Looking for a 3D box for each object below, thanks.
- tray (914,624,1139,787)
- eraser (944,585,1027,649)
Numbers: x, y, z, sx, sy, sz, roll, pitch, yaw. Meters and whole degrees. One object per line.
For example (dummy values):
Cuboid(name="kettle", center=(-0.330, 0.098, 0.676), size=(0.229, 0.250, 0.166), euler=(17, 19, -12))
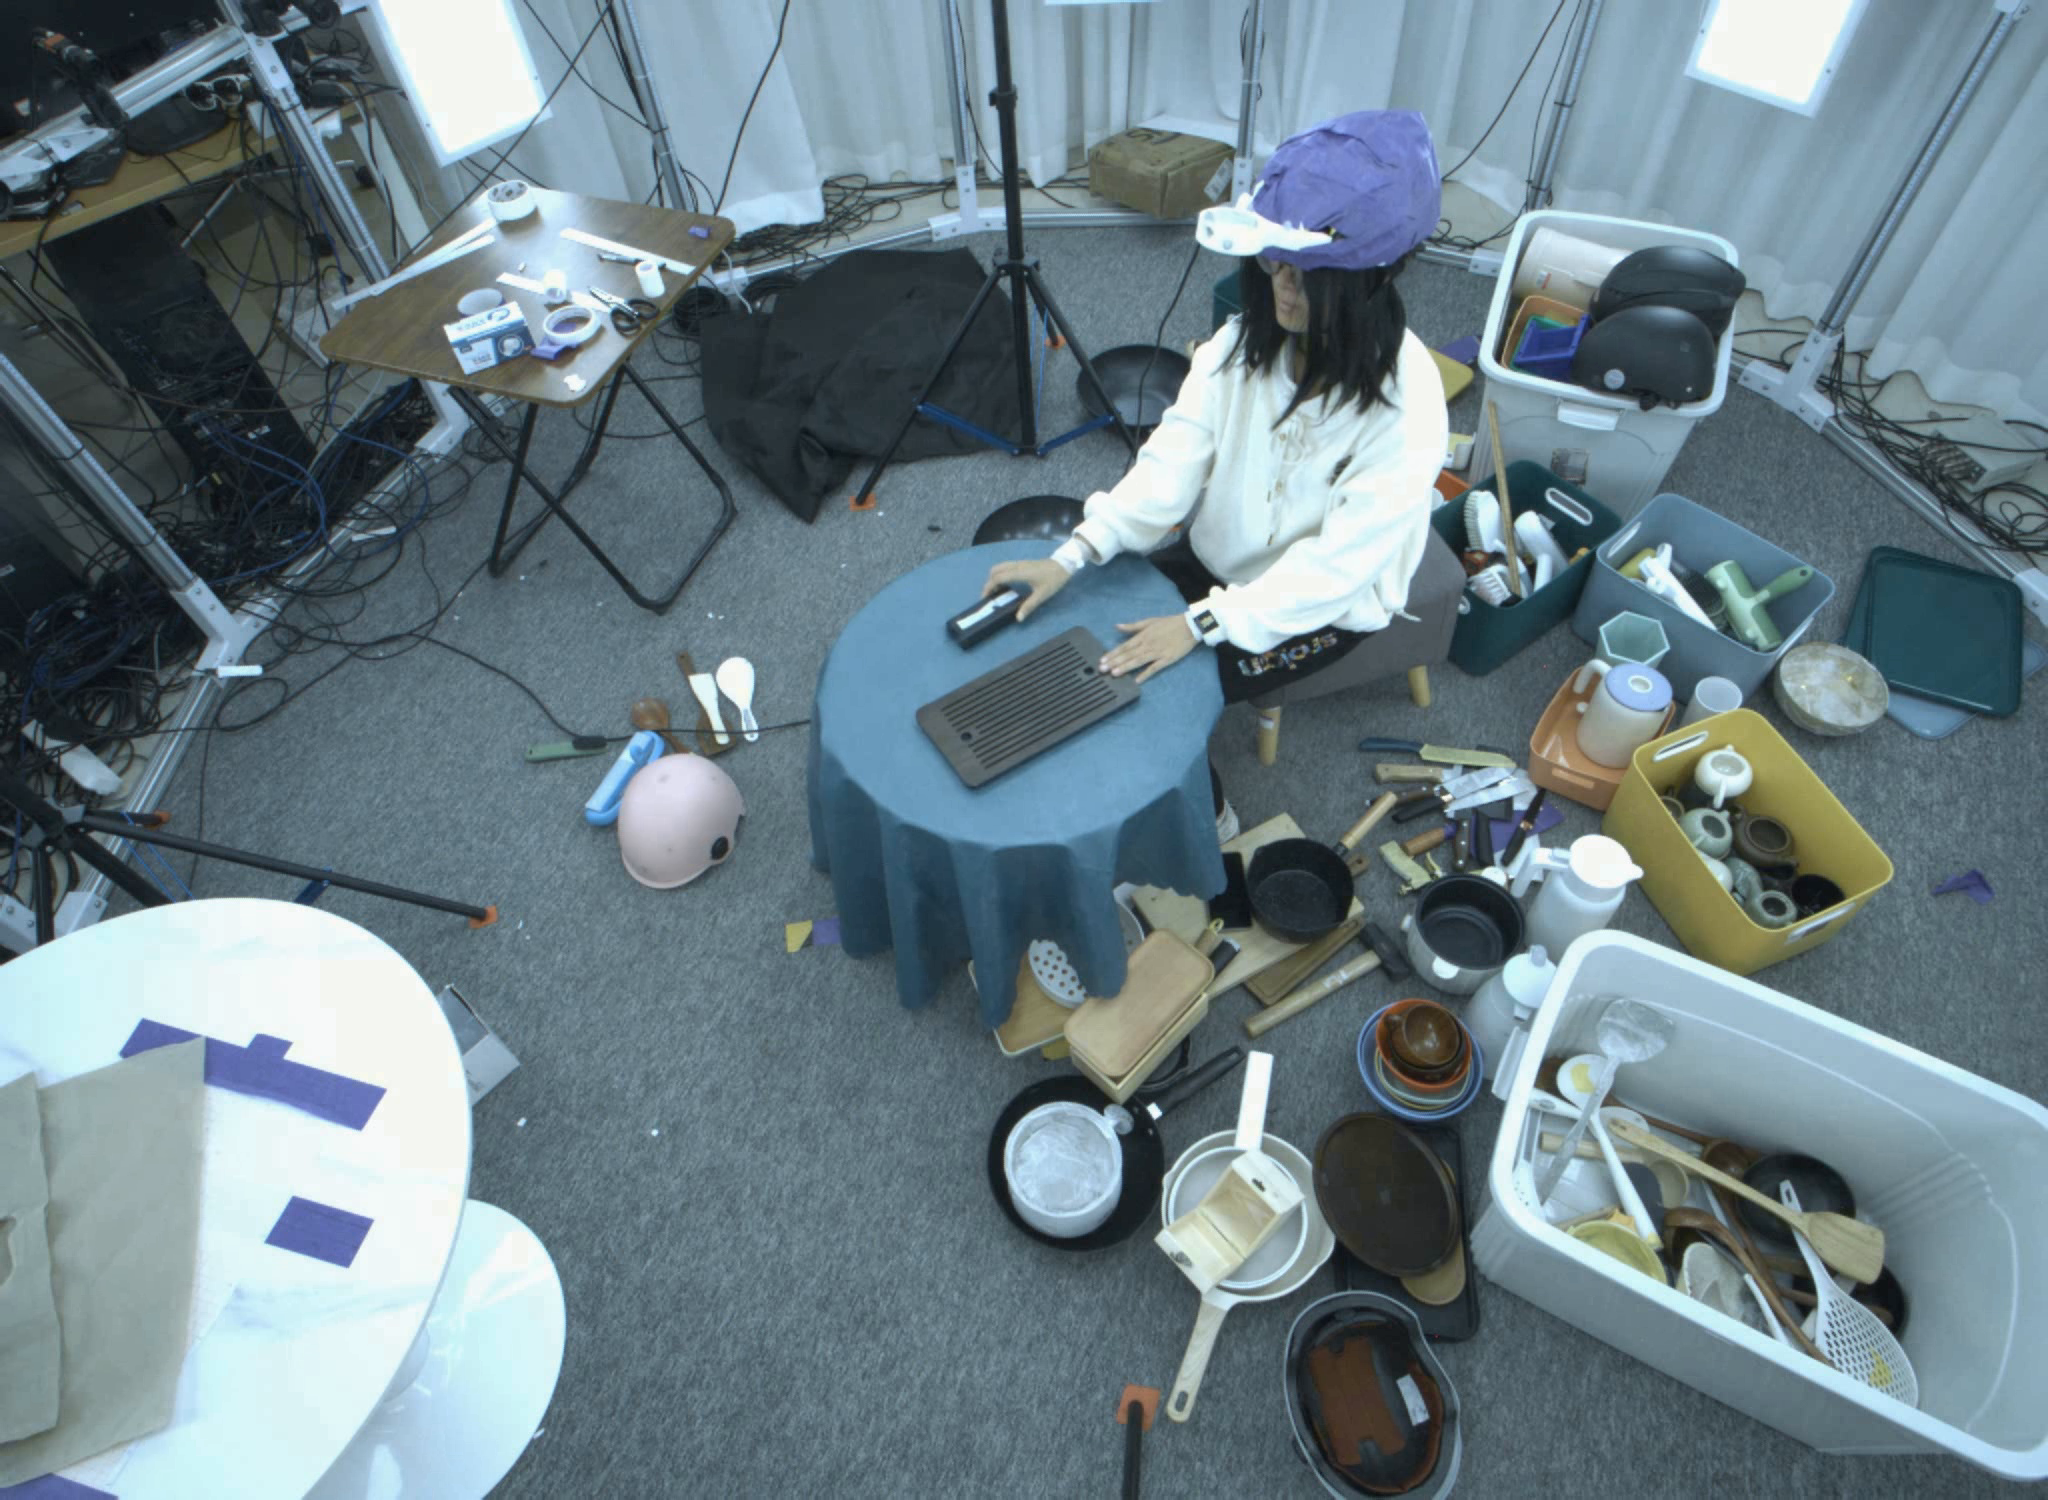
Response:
Cuboid(name="tray", center=(0.004, -0.069, 1.825), size=(0.308, 0.019, 0.167), euler=(-29, 59, -17))
Cuboid(name="eraser", center=(-0.061, -0.208, 1.920), size=(0.126, 0.031, 0.052), euler=(-33, 62, -21))
